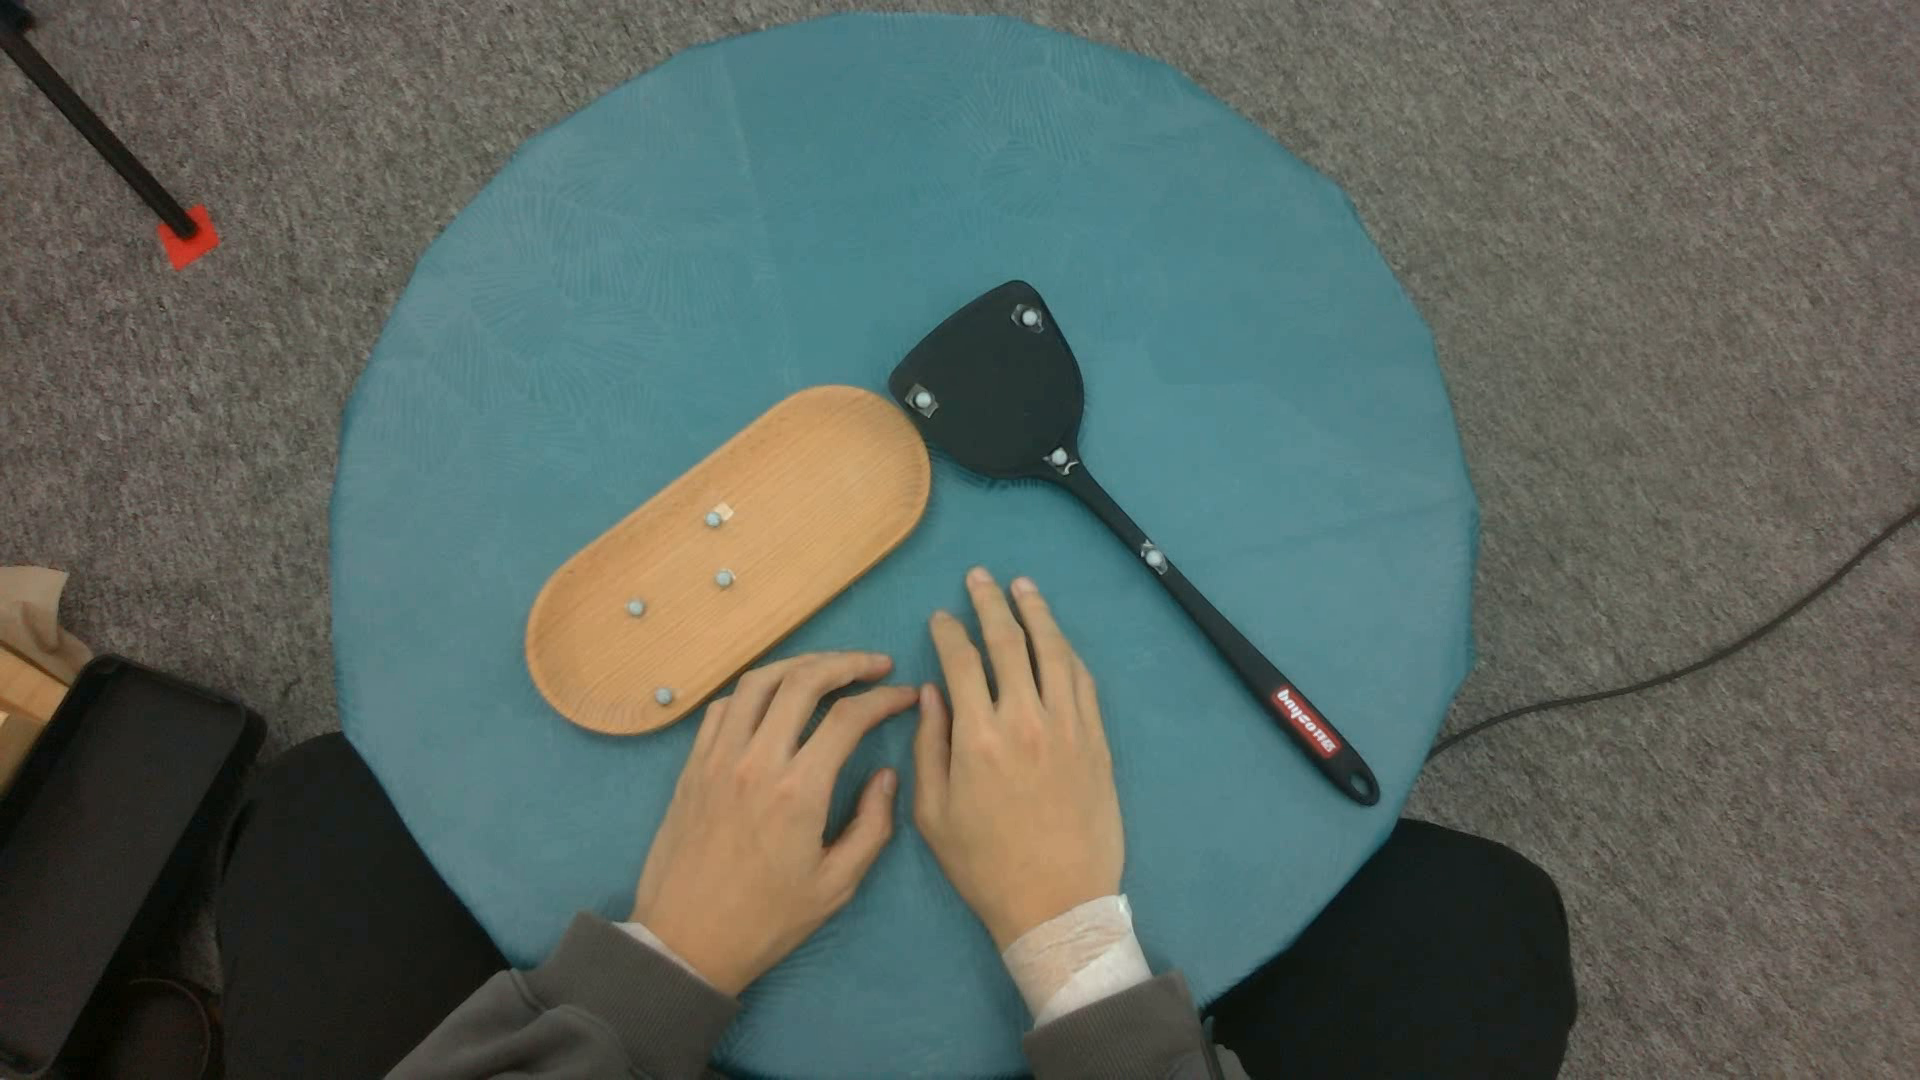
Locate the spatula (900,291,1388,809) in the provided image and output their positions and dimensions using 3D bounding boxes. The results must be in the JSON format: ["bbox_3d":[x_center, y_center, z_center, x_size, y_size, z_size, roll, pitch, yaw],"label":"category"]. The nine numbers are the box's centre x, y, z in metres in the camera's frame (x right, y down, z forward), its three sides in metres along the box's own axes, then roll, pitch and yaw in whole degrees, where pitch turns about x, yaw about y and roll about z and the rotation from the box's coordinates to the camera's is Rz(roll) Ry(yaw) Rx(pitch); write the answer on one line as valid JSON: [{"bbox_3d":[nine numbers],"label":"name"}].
[{"bbox_3d":[0.105,0.011,0.711,0.100,0.040,0.326,-40,76,-11],"label":"spatula"}]

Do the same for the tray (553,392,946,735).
[{"bbox_3d":[-0.108,0.010,0.722,0.231,0.020,0.102,-39,76,-13],"label":"tray"}]
